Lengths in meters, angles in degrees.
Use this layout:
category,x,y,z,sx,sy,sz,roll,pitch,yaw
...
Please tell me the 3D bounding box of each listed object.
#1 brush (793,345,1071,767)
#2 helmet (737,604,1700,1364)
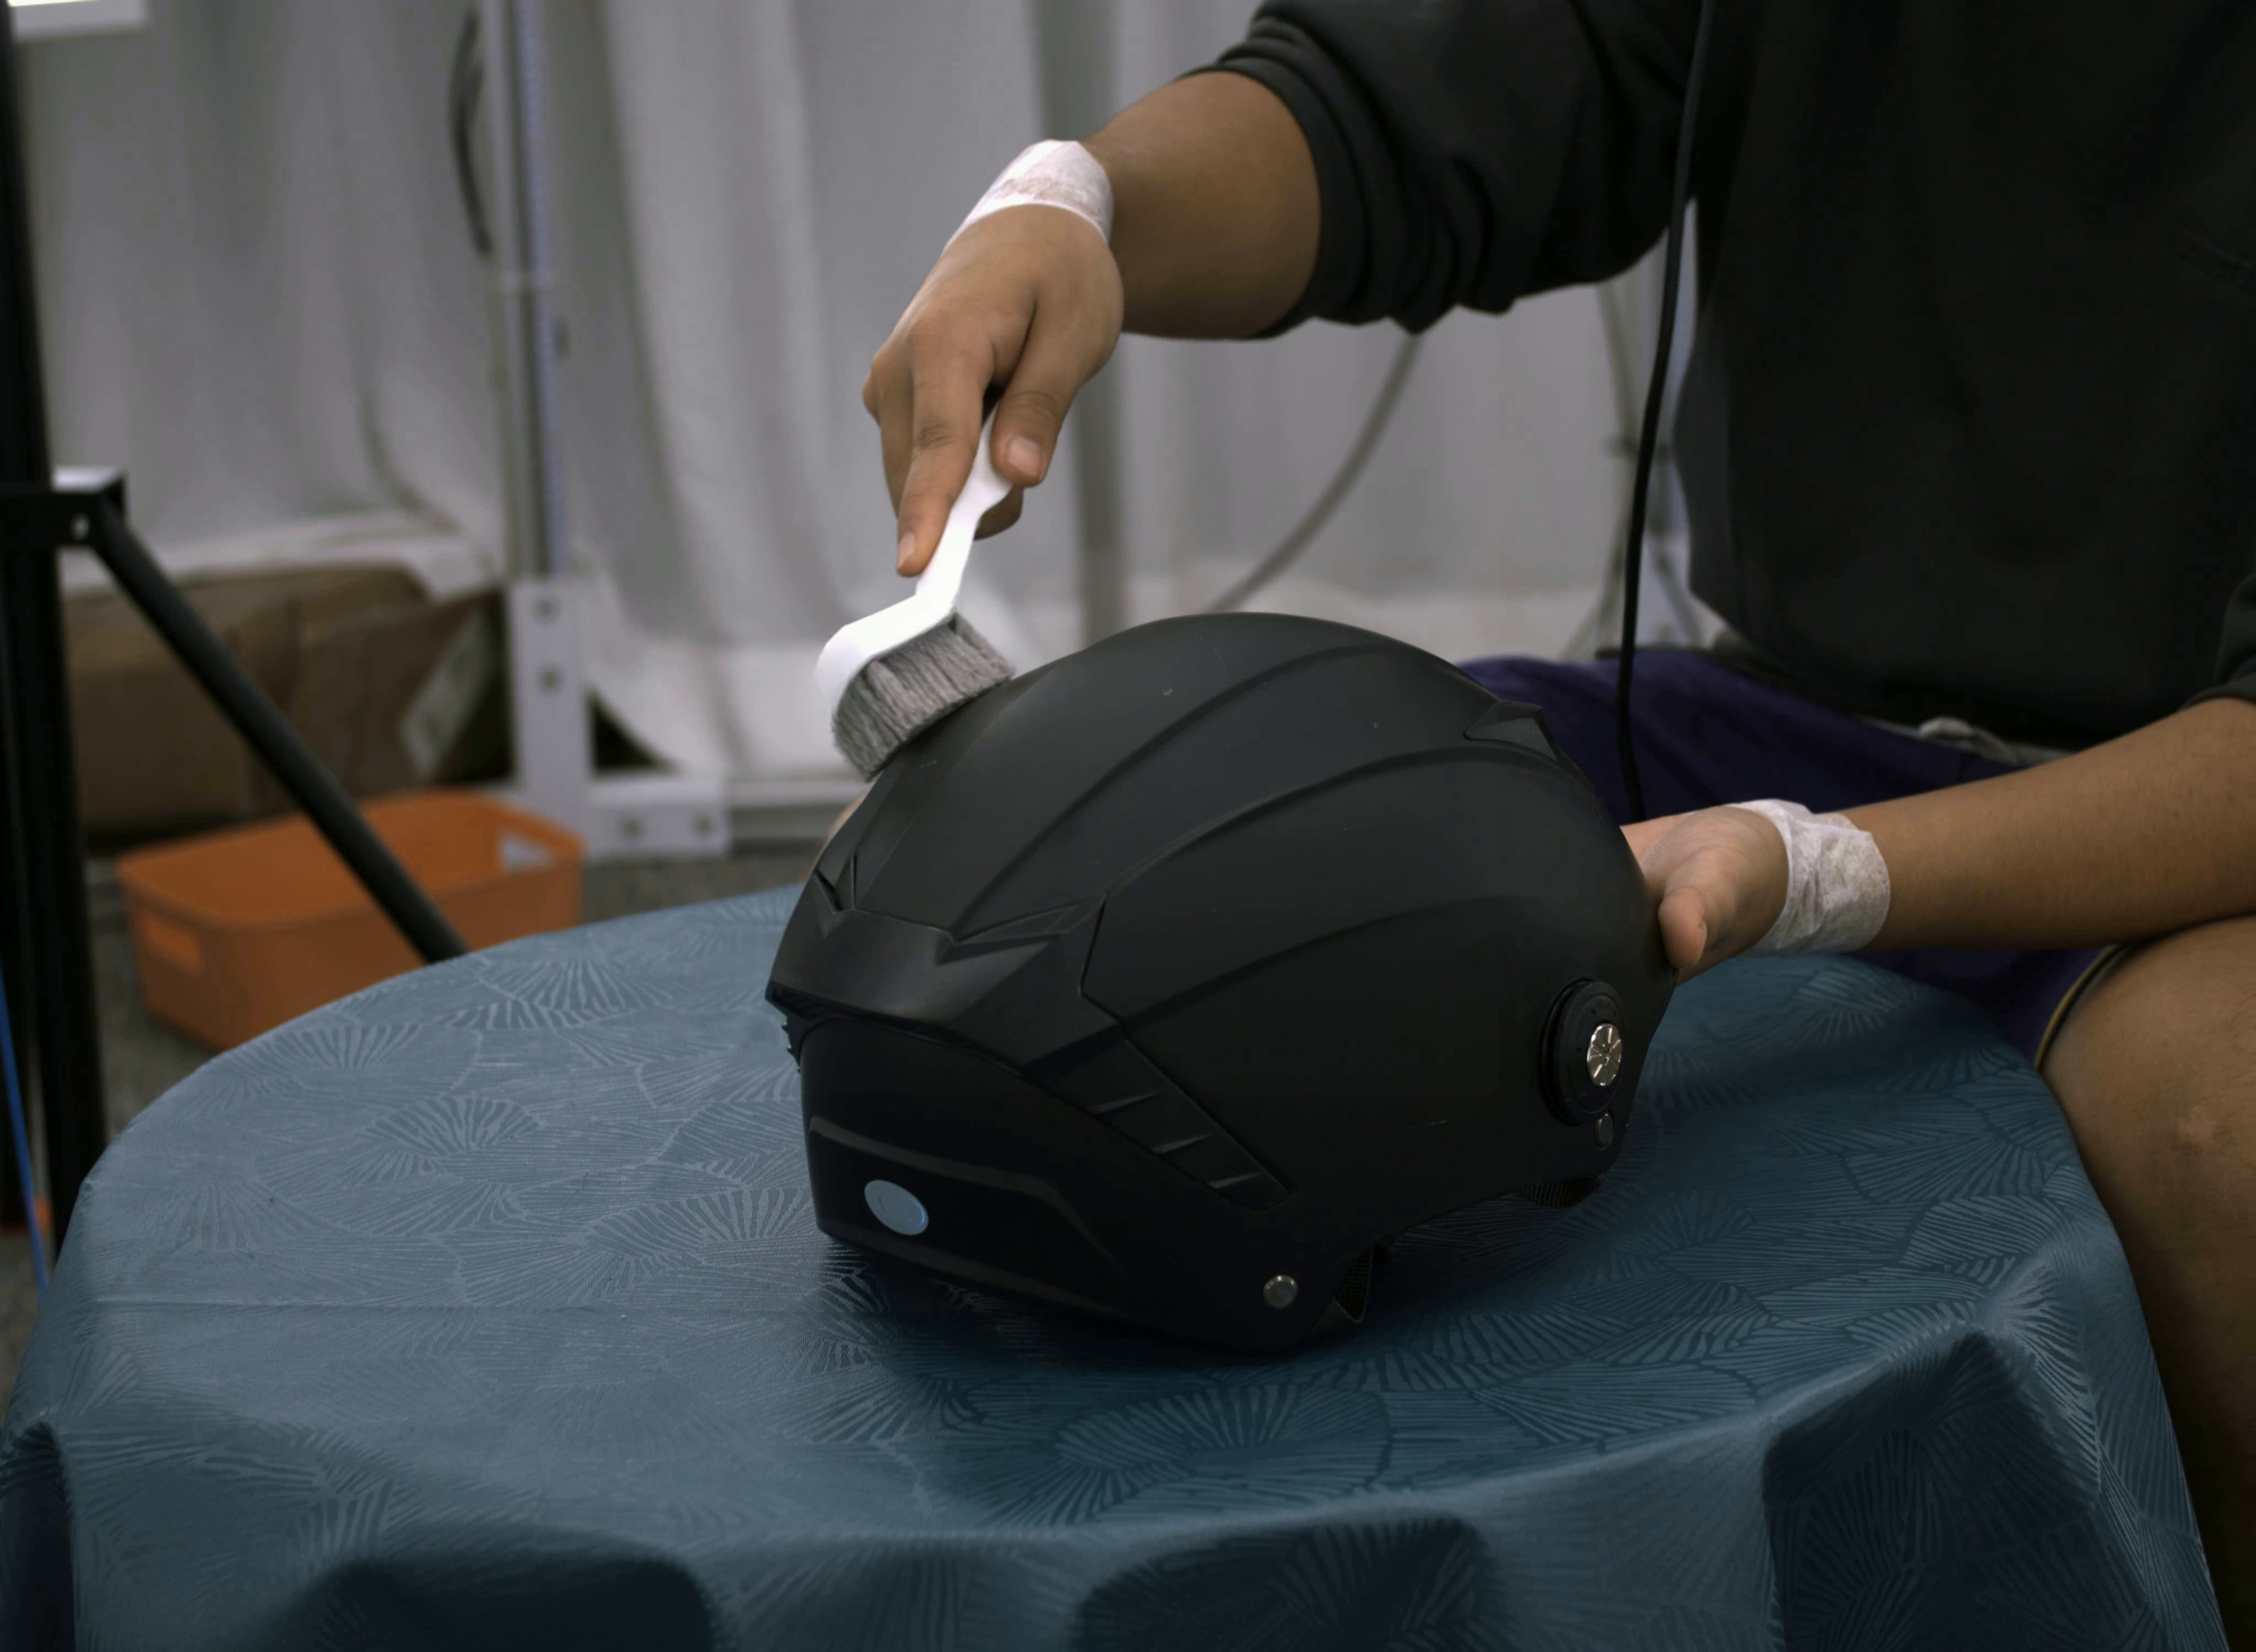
category,x,y,z,sx,sy,sz,roll,pitch,yaw
brush,-0.041,-0.083,1.603,0.050,0.035,0.242,40,30,-5
helmet,0.025,0.026,1.501,0.252,0.171,0.272,15,39,44
